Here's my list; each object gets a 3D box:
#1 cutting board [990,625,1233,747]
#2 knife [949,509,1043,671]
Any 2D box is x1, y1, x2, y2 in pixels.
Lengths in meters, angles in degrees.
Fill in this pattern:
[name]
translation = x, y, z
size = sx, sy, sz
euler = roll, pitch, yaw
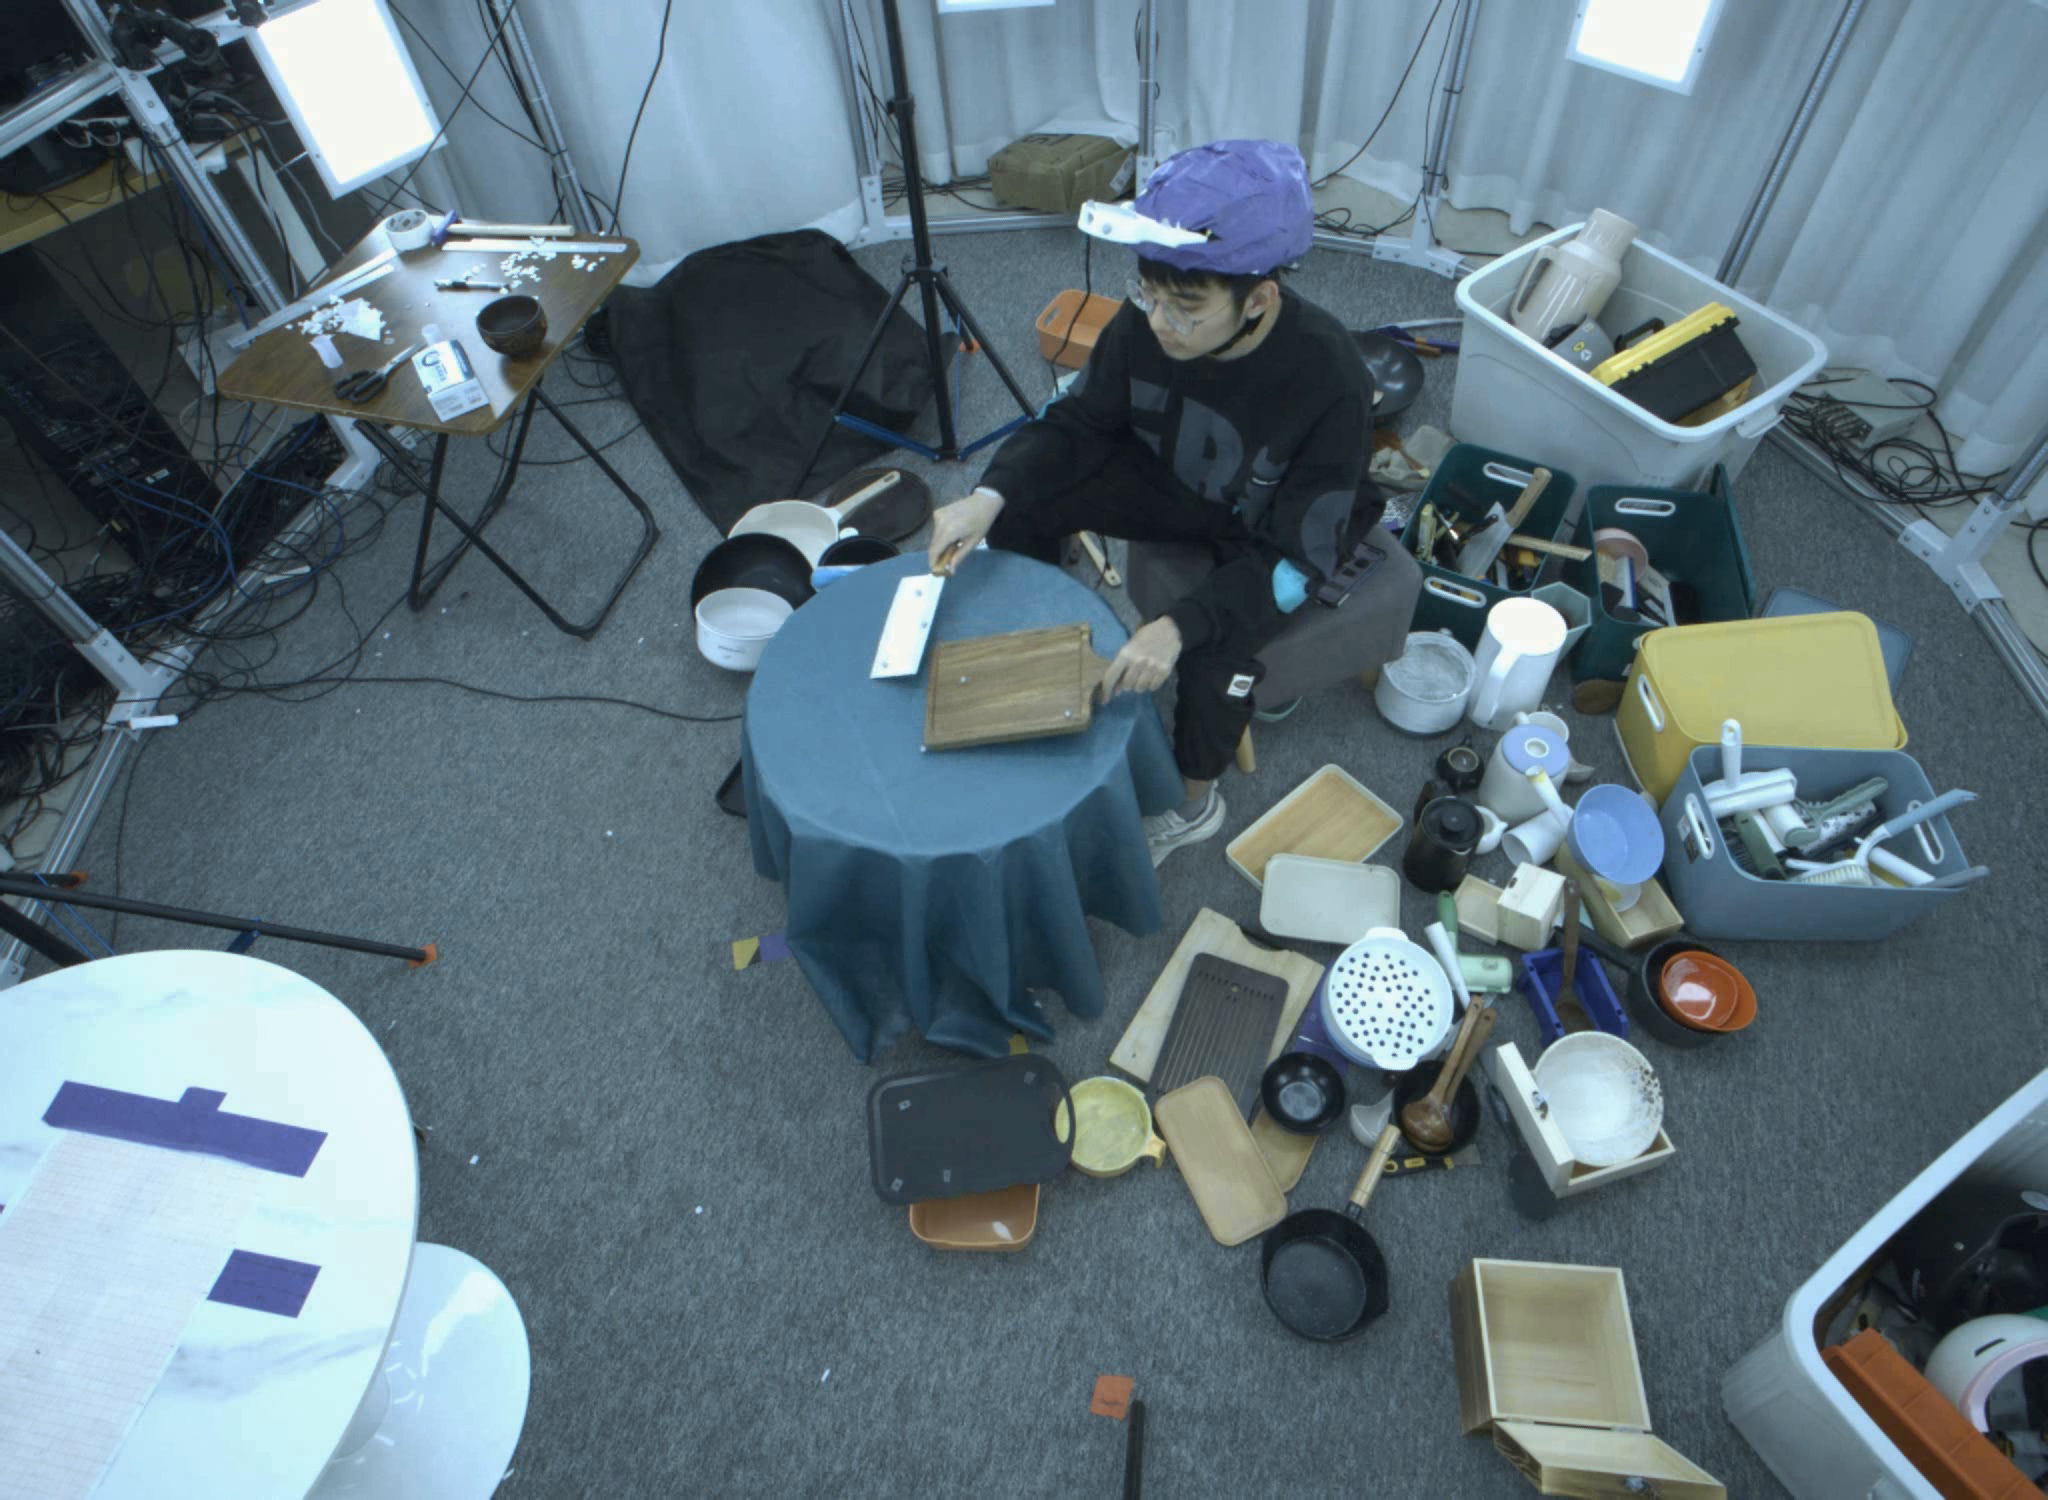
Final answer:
[cutting board]
translation = 0.129, -0.098, 1.801
size = 0.349, 0.023, 0.199
euler = -3, 54, 13
[knife]
translation = -0.048, -0.252, 1.916
size = 0.091, 0.021, 0.305
euler = 2, 61, 32
